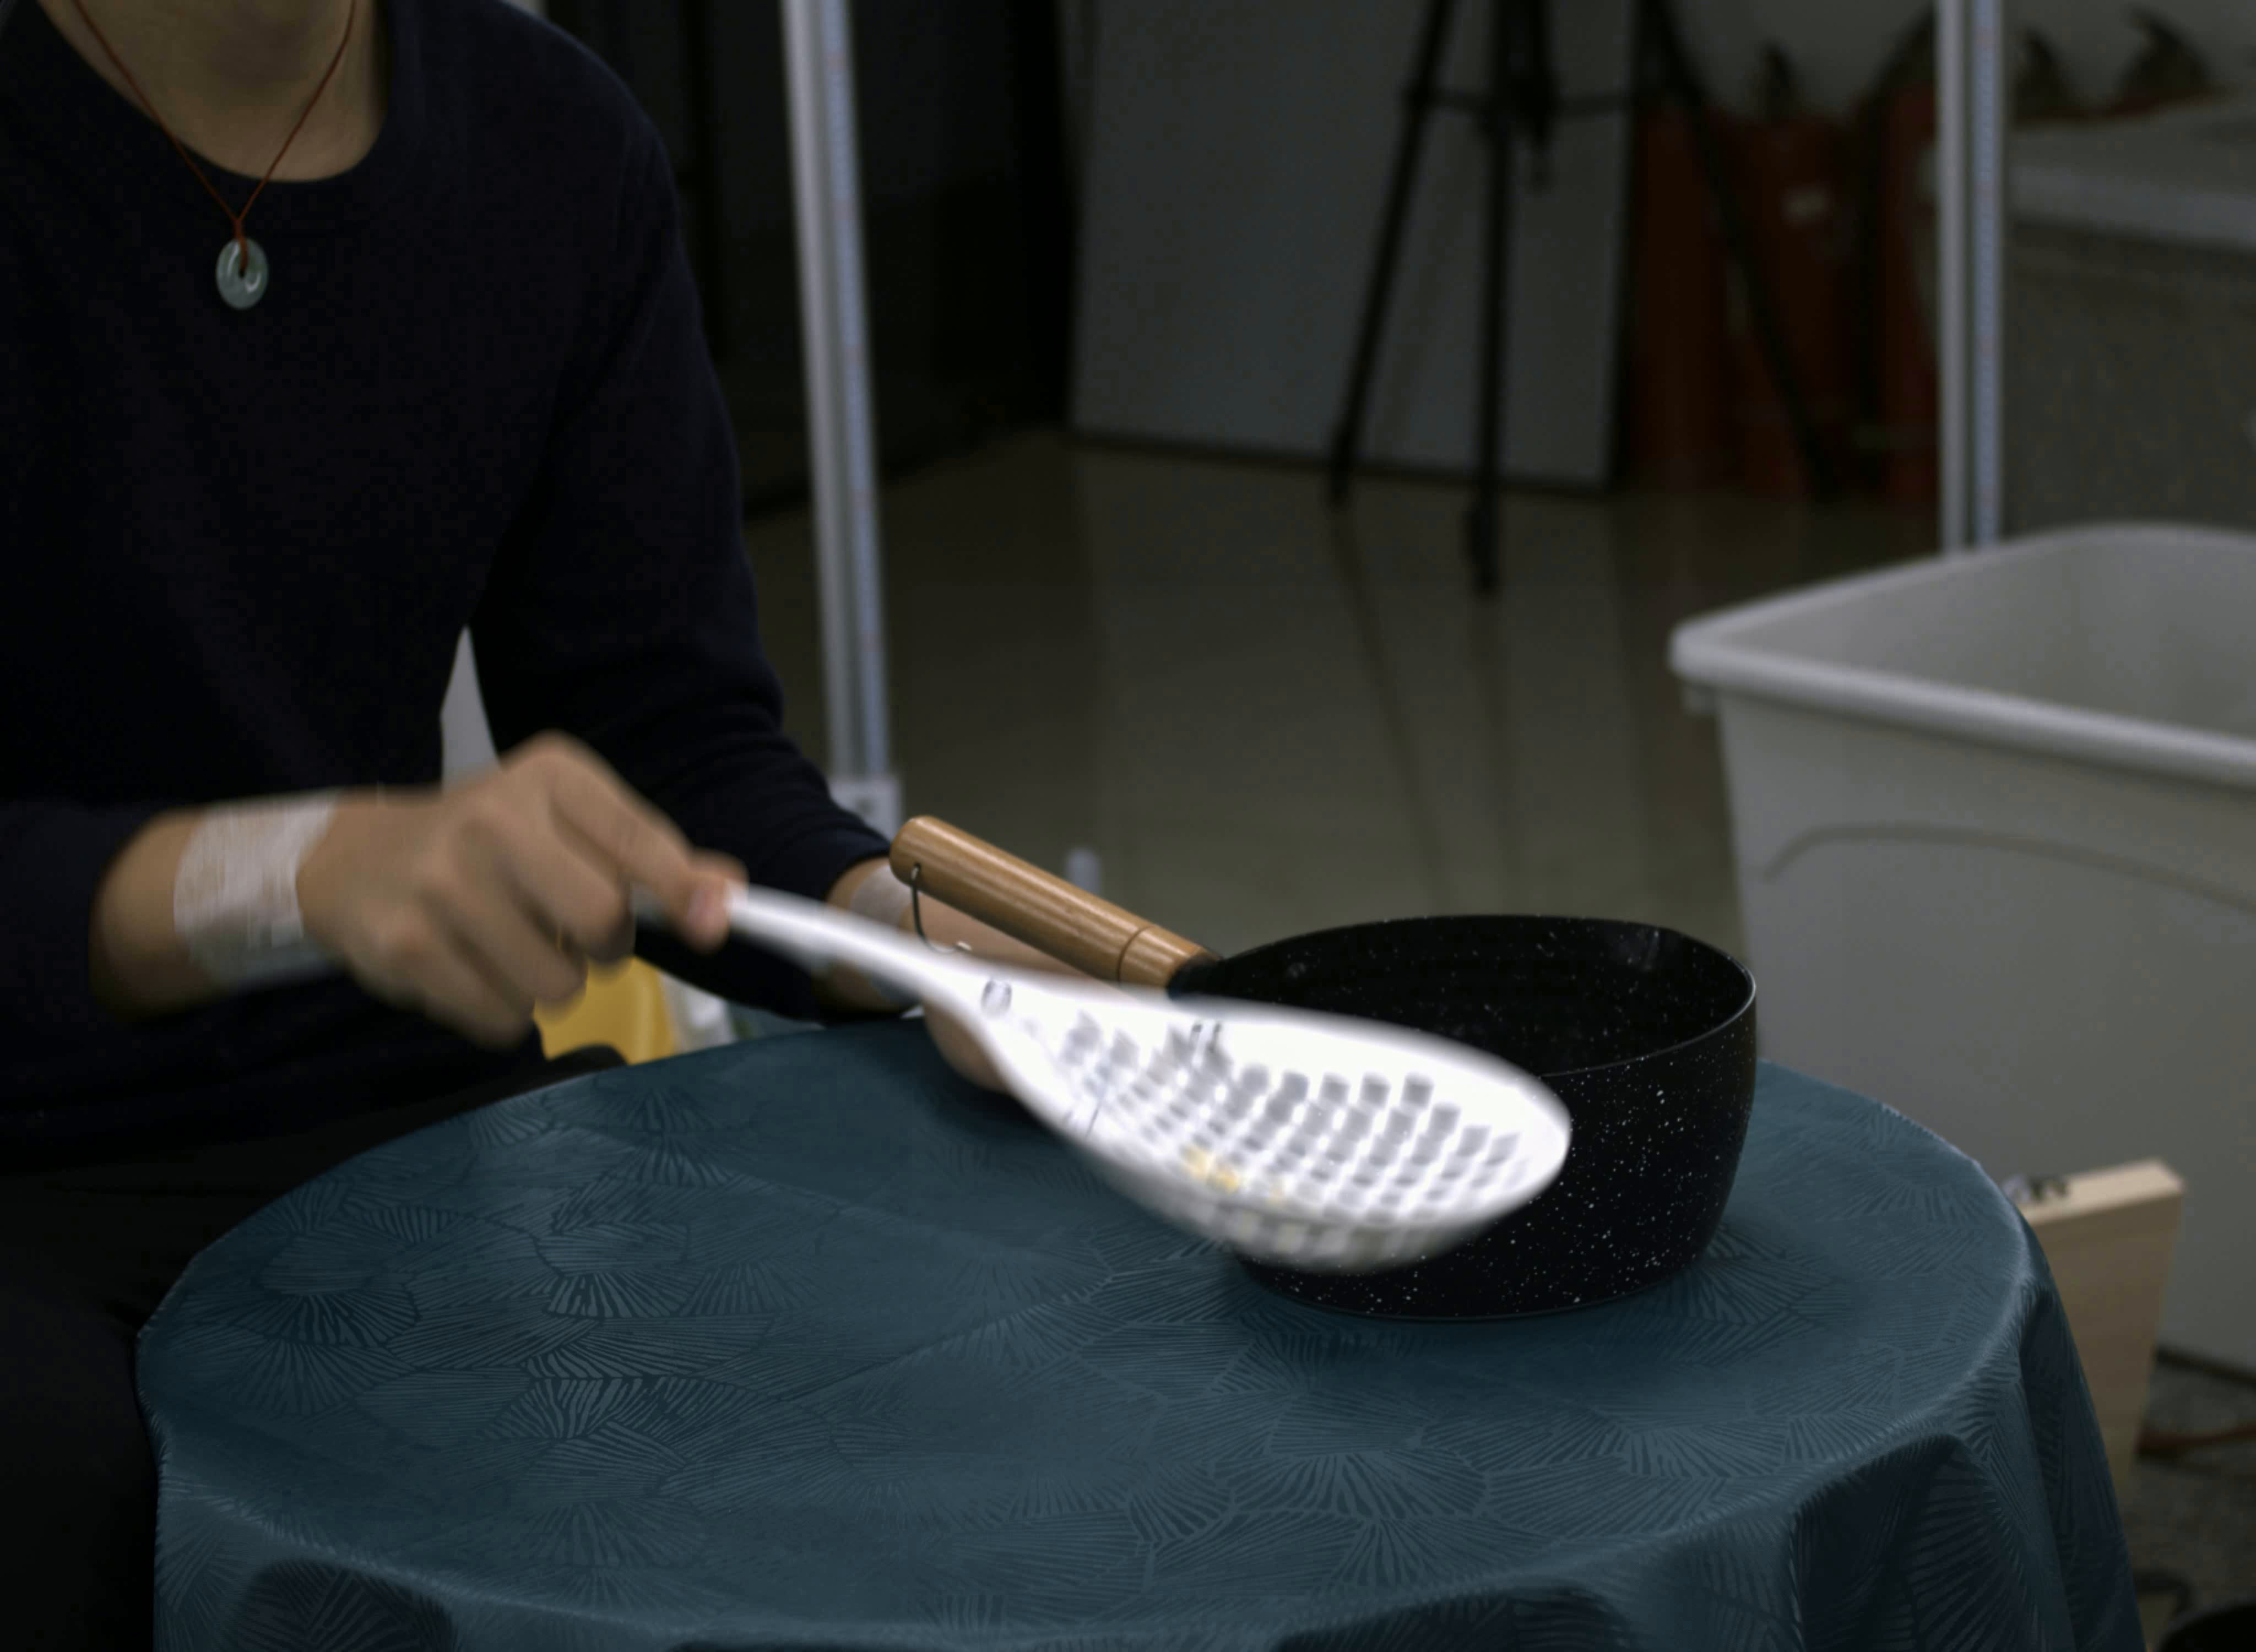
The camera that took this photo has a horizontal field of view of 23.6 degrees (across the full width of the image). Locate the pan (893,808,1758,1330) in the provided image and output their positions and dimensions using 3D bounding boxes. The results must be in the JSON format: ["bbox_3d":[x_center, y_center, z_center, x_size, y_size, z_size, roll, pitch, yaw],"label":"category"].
[{"bbox_3d":[0.048,0.071,1.735,0.346,0.109,0.203,10,21,43],"label":"pan"}]

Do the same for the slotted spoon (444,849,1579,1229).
[{"bbox_3d":[-0.041,0.045,1.486,0.349,0.051,0.134,22,24,26],"label":"slotted spoon"}]
